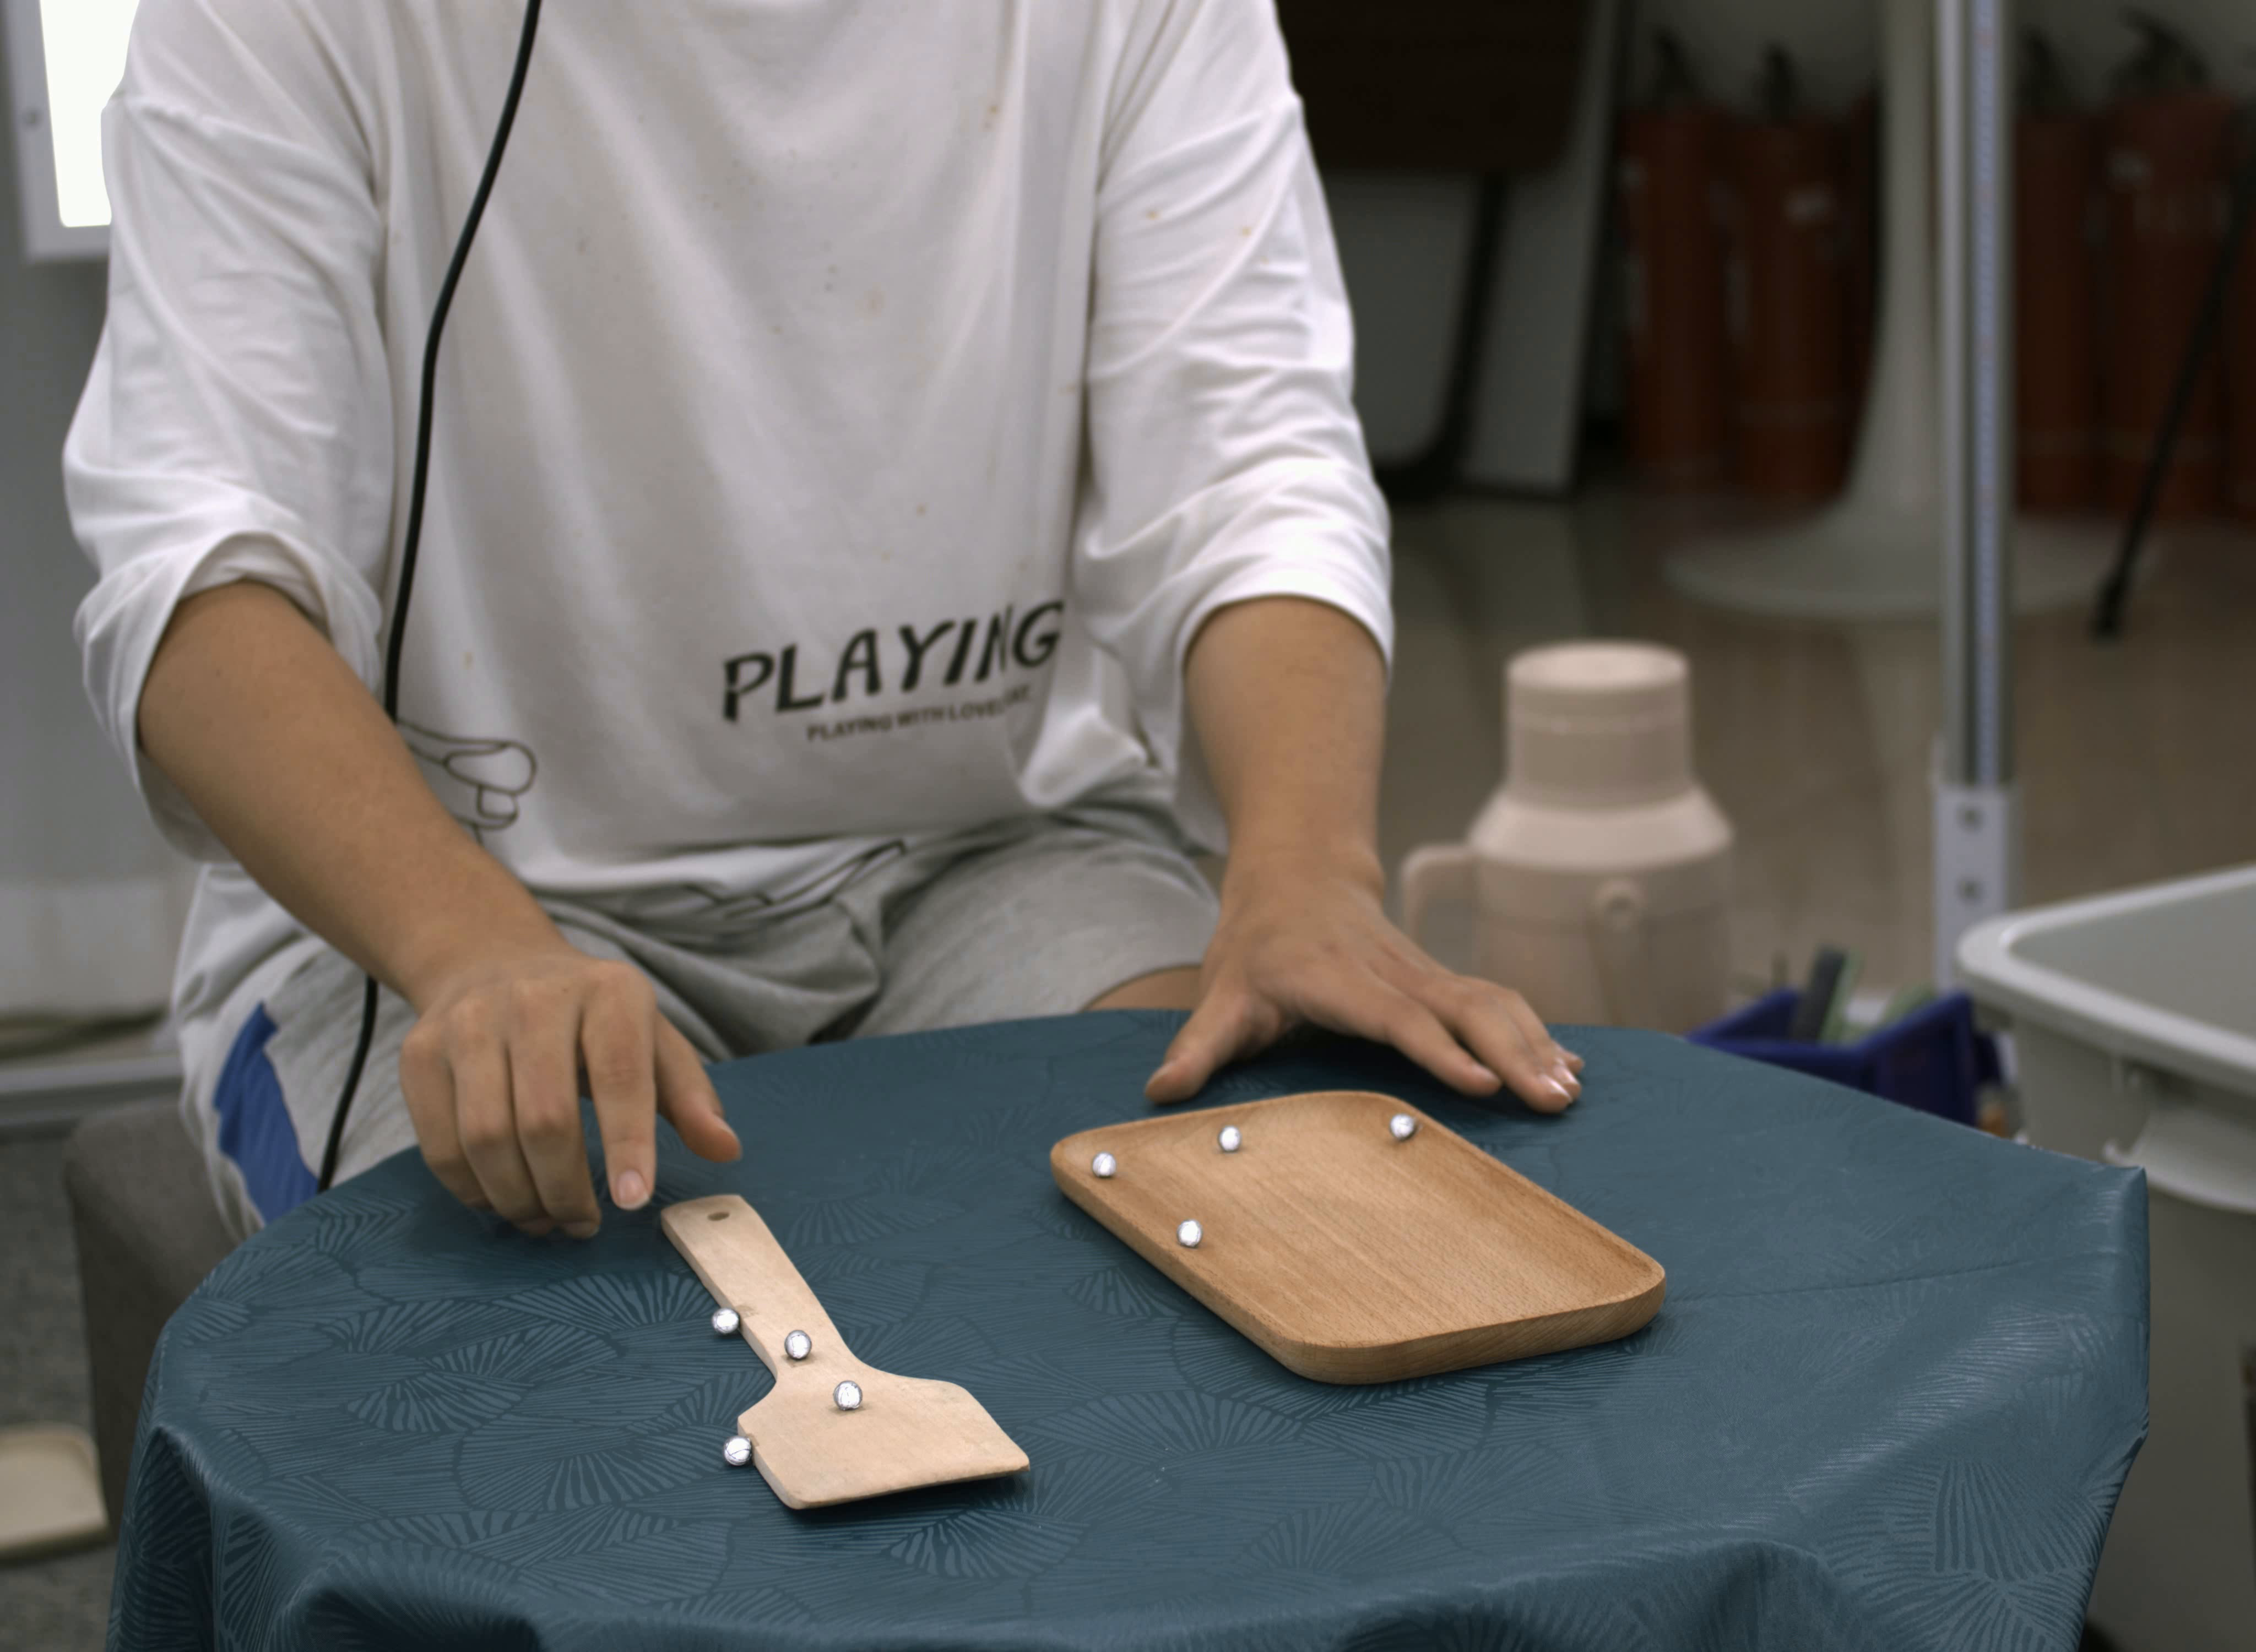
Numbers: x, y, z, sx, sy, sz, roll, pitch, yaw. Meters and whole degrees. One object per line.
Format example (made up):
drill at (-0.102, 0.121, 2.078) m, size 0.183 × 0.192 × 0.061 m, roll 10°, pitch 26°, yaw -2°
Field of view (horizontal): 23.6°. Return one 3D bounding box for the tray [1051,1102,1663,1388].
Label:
tray at (0.068, 0.129, 1.692) m, size 0.128 × 0.023 × 0.253 m, roll -11°, pitch 15°, yaw -16°

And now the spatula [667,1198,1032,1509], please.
spatula at (-0.100, 0.156, 1.638) m, size 0.071 × 0.011 × 0.295 m, roll -9°, pitch 14°, yaw -15°
